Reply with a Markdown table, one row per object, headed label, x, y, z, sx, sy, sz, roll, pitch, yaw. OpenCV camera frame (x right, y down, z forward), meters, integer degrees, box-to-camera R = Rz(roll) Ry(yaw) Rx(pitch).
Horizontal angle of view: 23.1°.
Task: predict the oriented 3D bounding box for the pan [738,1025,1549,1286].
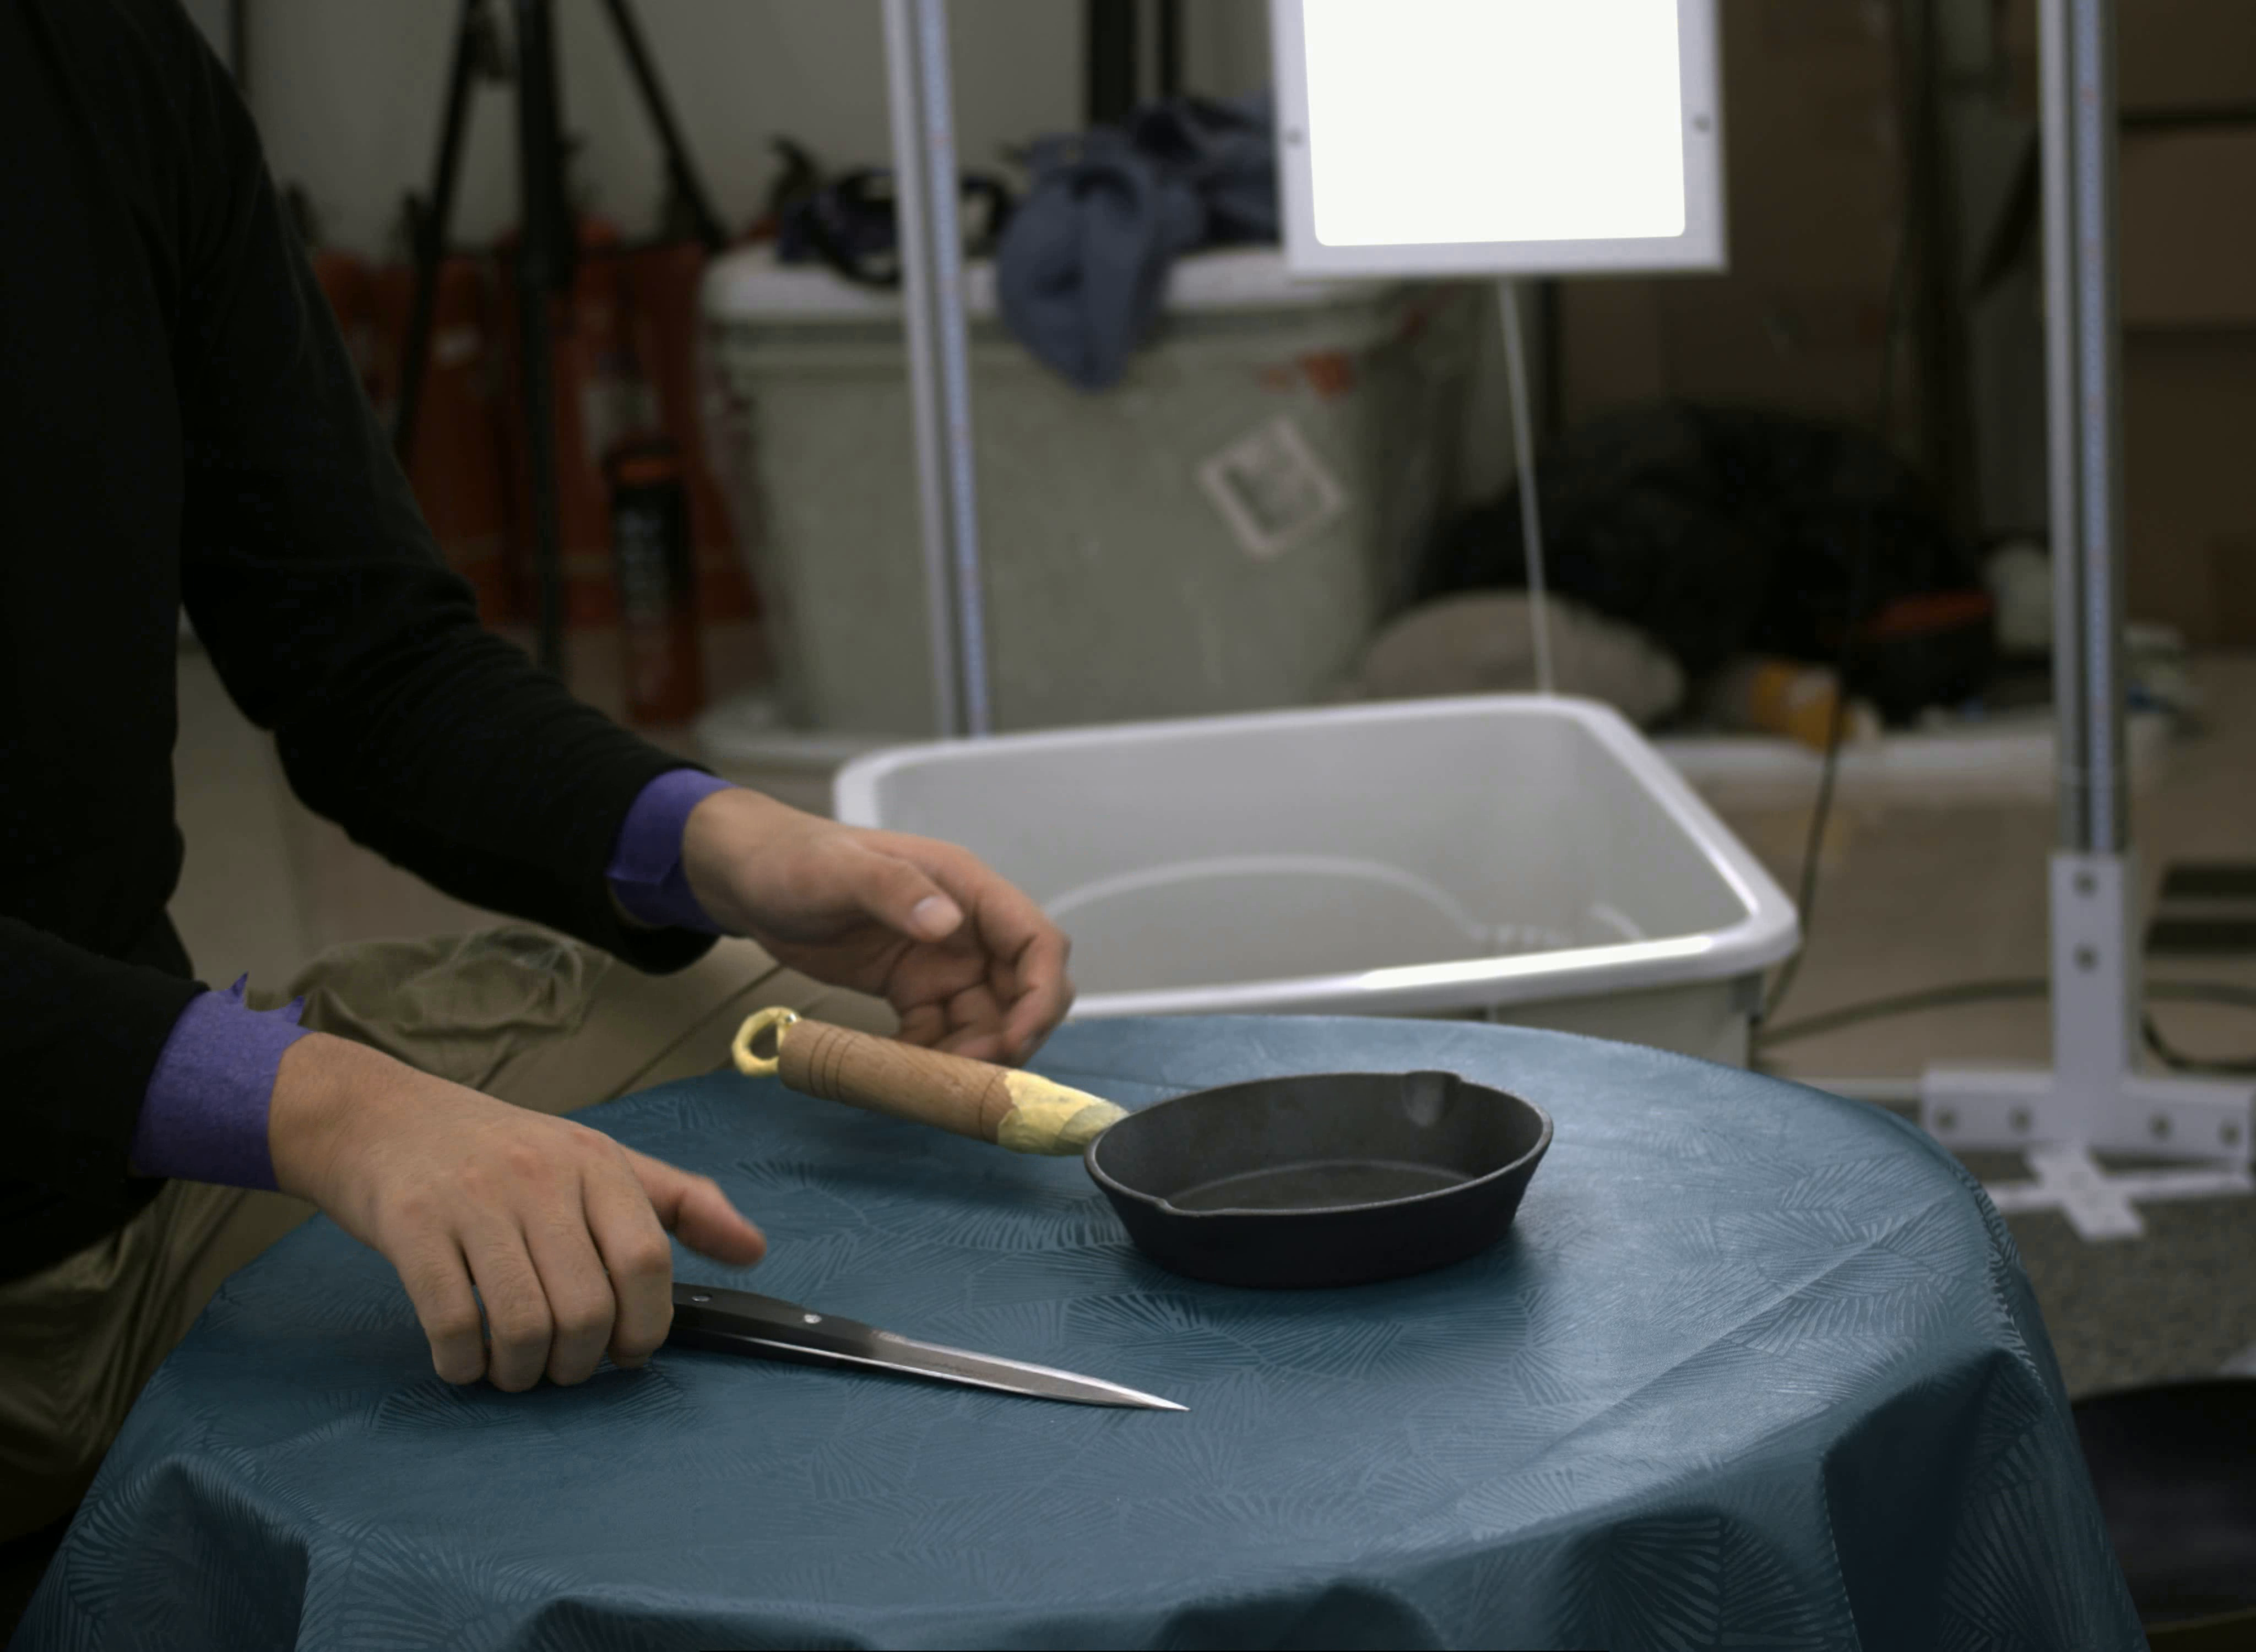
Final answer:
| label | x | y | z | sx | sy | sz | roll | pitch | yaw |
| --- | --- | --- | --- | --- | --- | --- | --- | --- | --- |
| pan | -0.004 | 0.106 | 1.886 | 0.331 | 0.050 | 0.165 | 5 | 17 | 38 |

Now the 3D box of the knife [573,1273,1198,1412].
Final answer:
| label | x | y | z | sx | sy | sz | roll | pitch | yaw |
| --- | --- | --- | --- | --- | --- | --- | --- | --- | --- |
| knife | -0.082 | 0.166 | 1.746 | 0.243 | 0.016 | 0.024 | 7 | 18 | 32 |
